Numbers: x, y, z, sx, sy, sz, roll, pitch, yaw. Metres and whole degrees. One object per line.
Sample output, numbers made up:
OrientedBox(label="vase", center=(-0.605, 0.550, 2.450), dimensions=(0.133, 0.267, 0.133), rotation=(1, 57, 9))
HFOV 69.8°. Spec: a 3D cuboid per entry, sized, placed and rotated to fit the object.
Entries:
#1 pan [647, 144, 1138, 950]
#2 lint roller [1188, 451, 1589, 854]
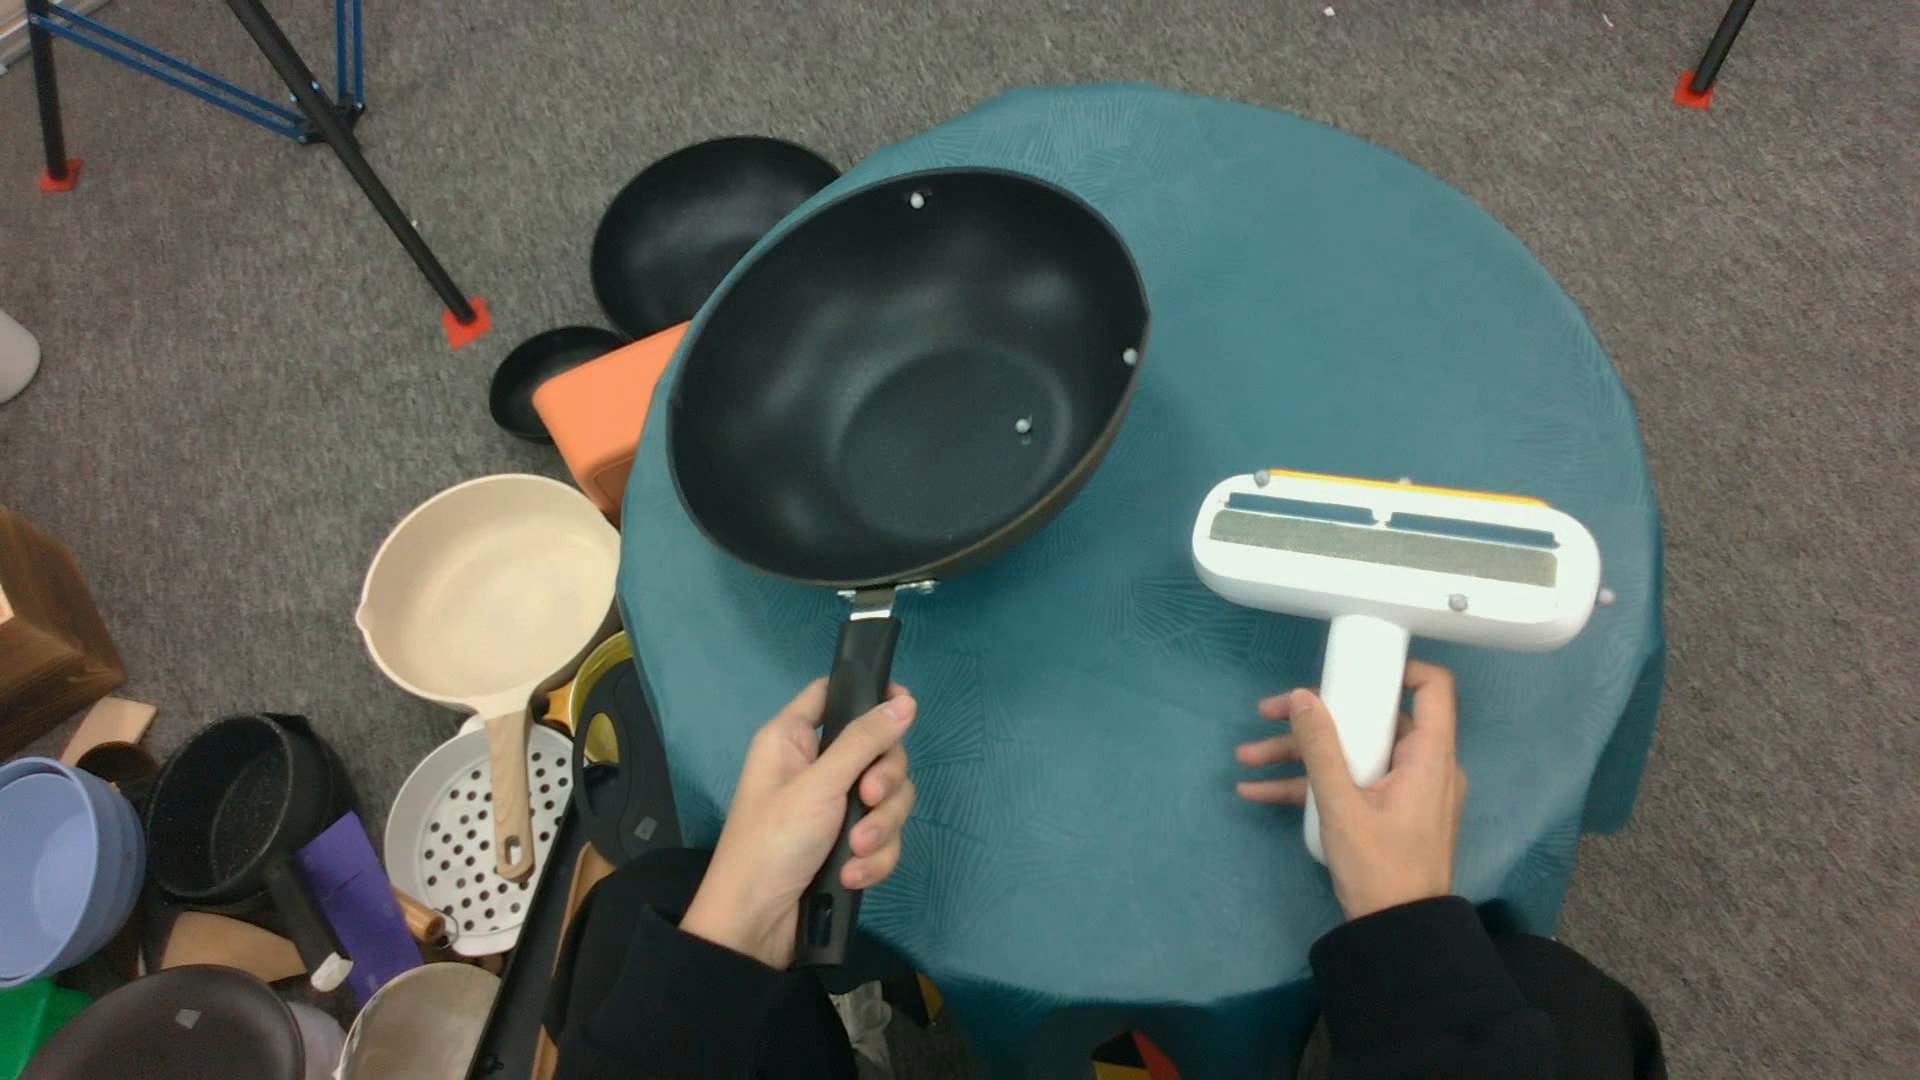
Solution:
OrientedBox(label="pan", center=(-0.039, -0.010, 0.736), dimensions=(0.287, 0.086, 0.465), rotation=(-6, 59, 18))
OrientedBox(label="lint roller", center=(0.191, 0.060, 0.681), dimensions=(0.192, 0.074, 0.193), rotation=(15, 78, 25))
